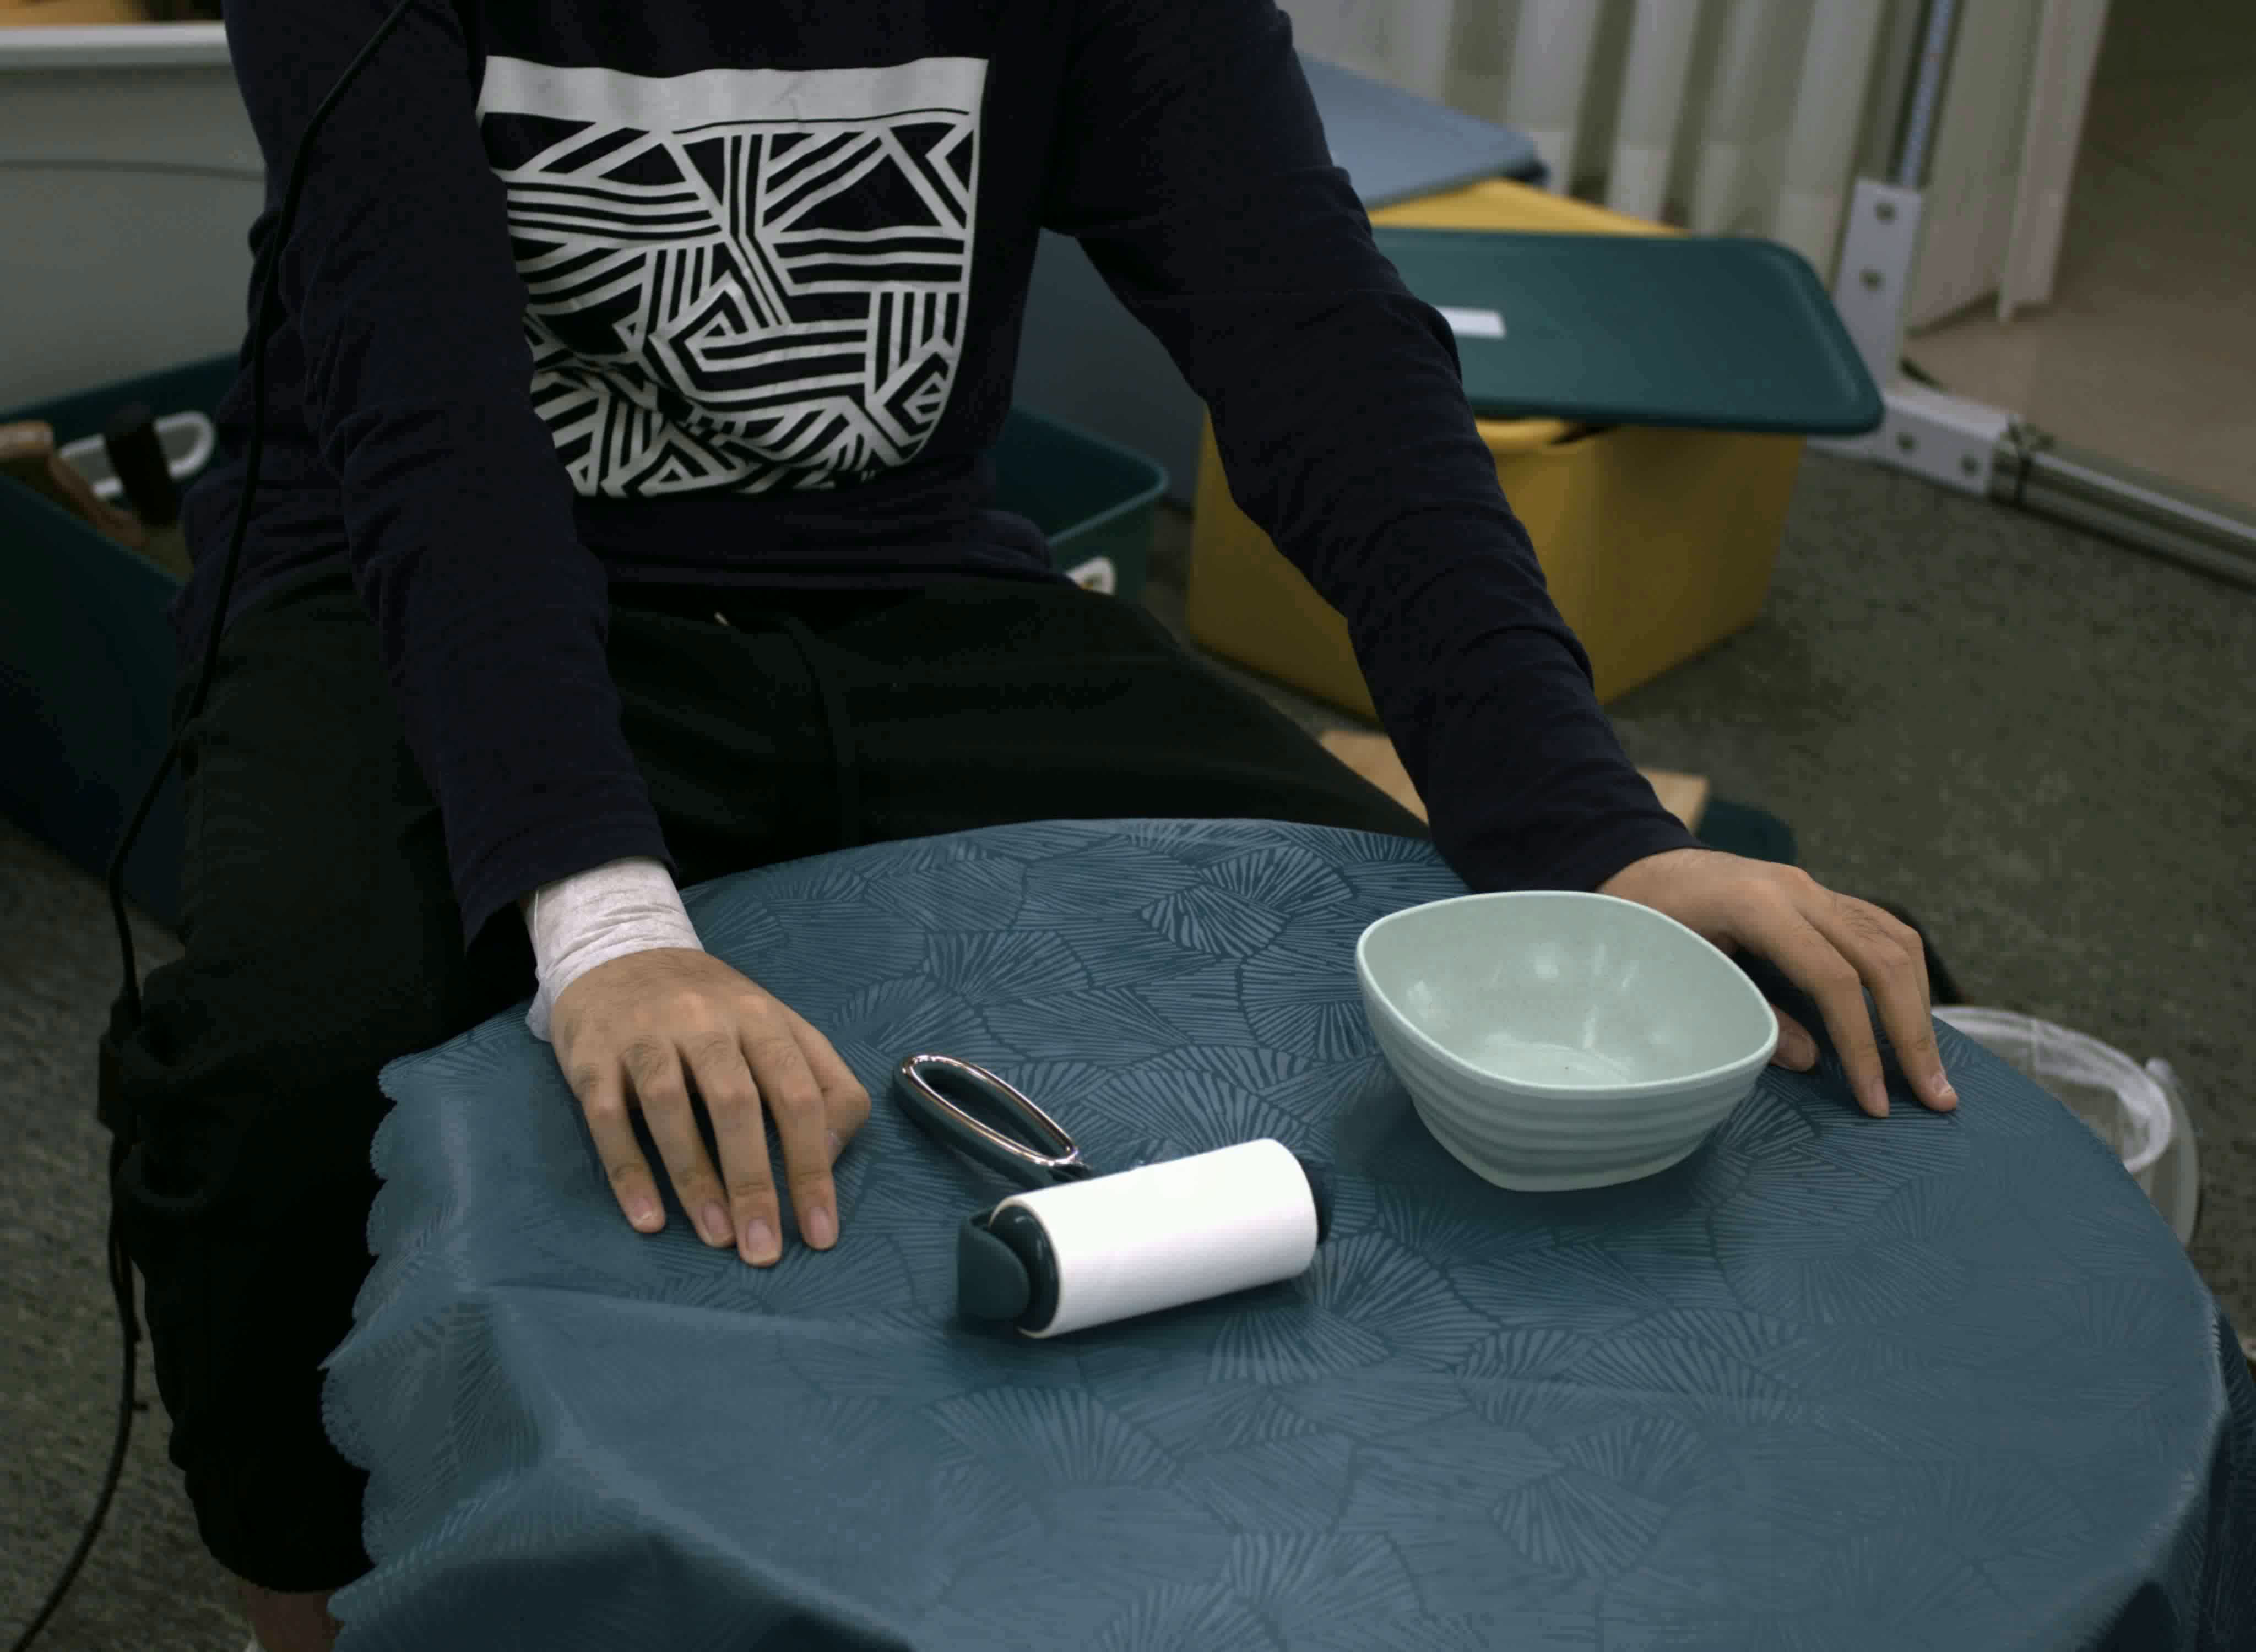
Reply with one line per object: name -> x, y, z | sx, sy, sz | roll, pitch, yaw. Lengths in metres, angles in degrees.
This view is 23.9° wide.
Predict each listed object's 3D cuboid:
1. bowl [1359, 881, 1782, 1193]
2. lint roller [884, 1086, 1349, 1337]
bowl -> 0.151, 0.080, 1.863 | 0.151, 0.058, 0.152 | 5, 29, -3
lint roller -> -0.029, 0.108, 1.786 | 0.133, 0.048, 0.181 | -11, 28, -31
